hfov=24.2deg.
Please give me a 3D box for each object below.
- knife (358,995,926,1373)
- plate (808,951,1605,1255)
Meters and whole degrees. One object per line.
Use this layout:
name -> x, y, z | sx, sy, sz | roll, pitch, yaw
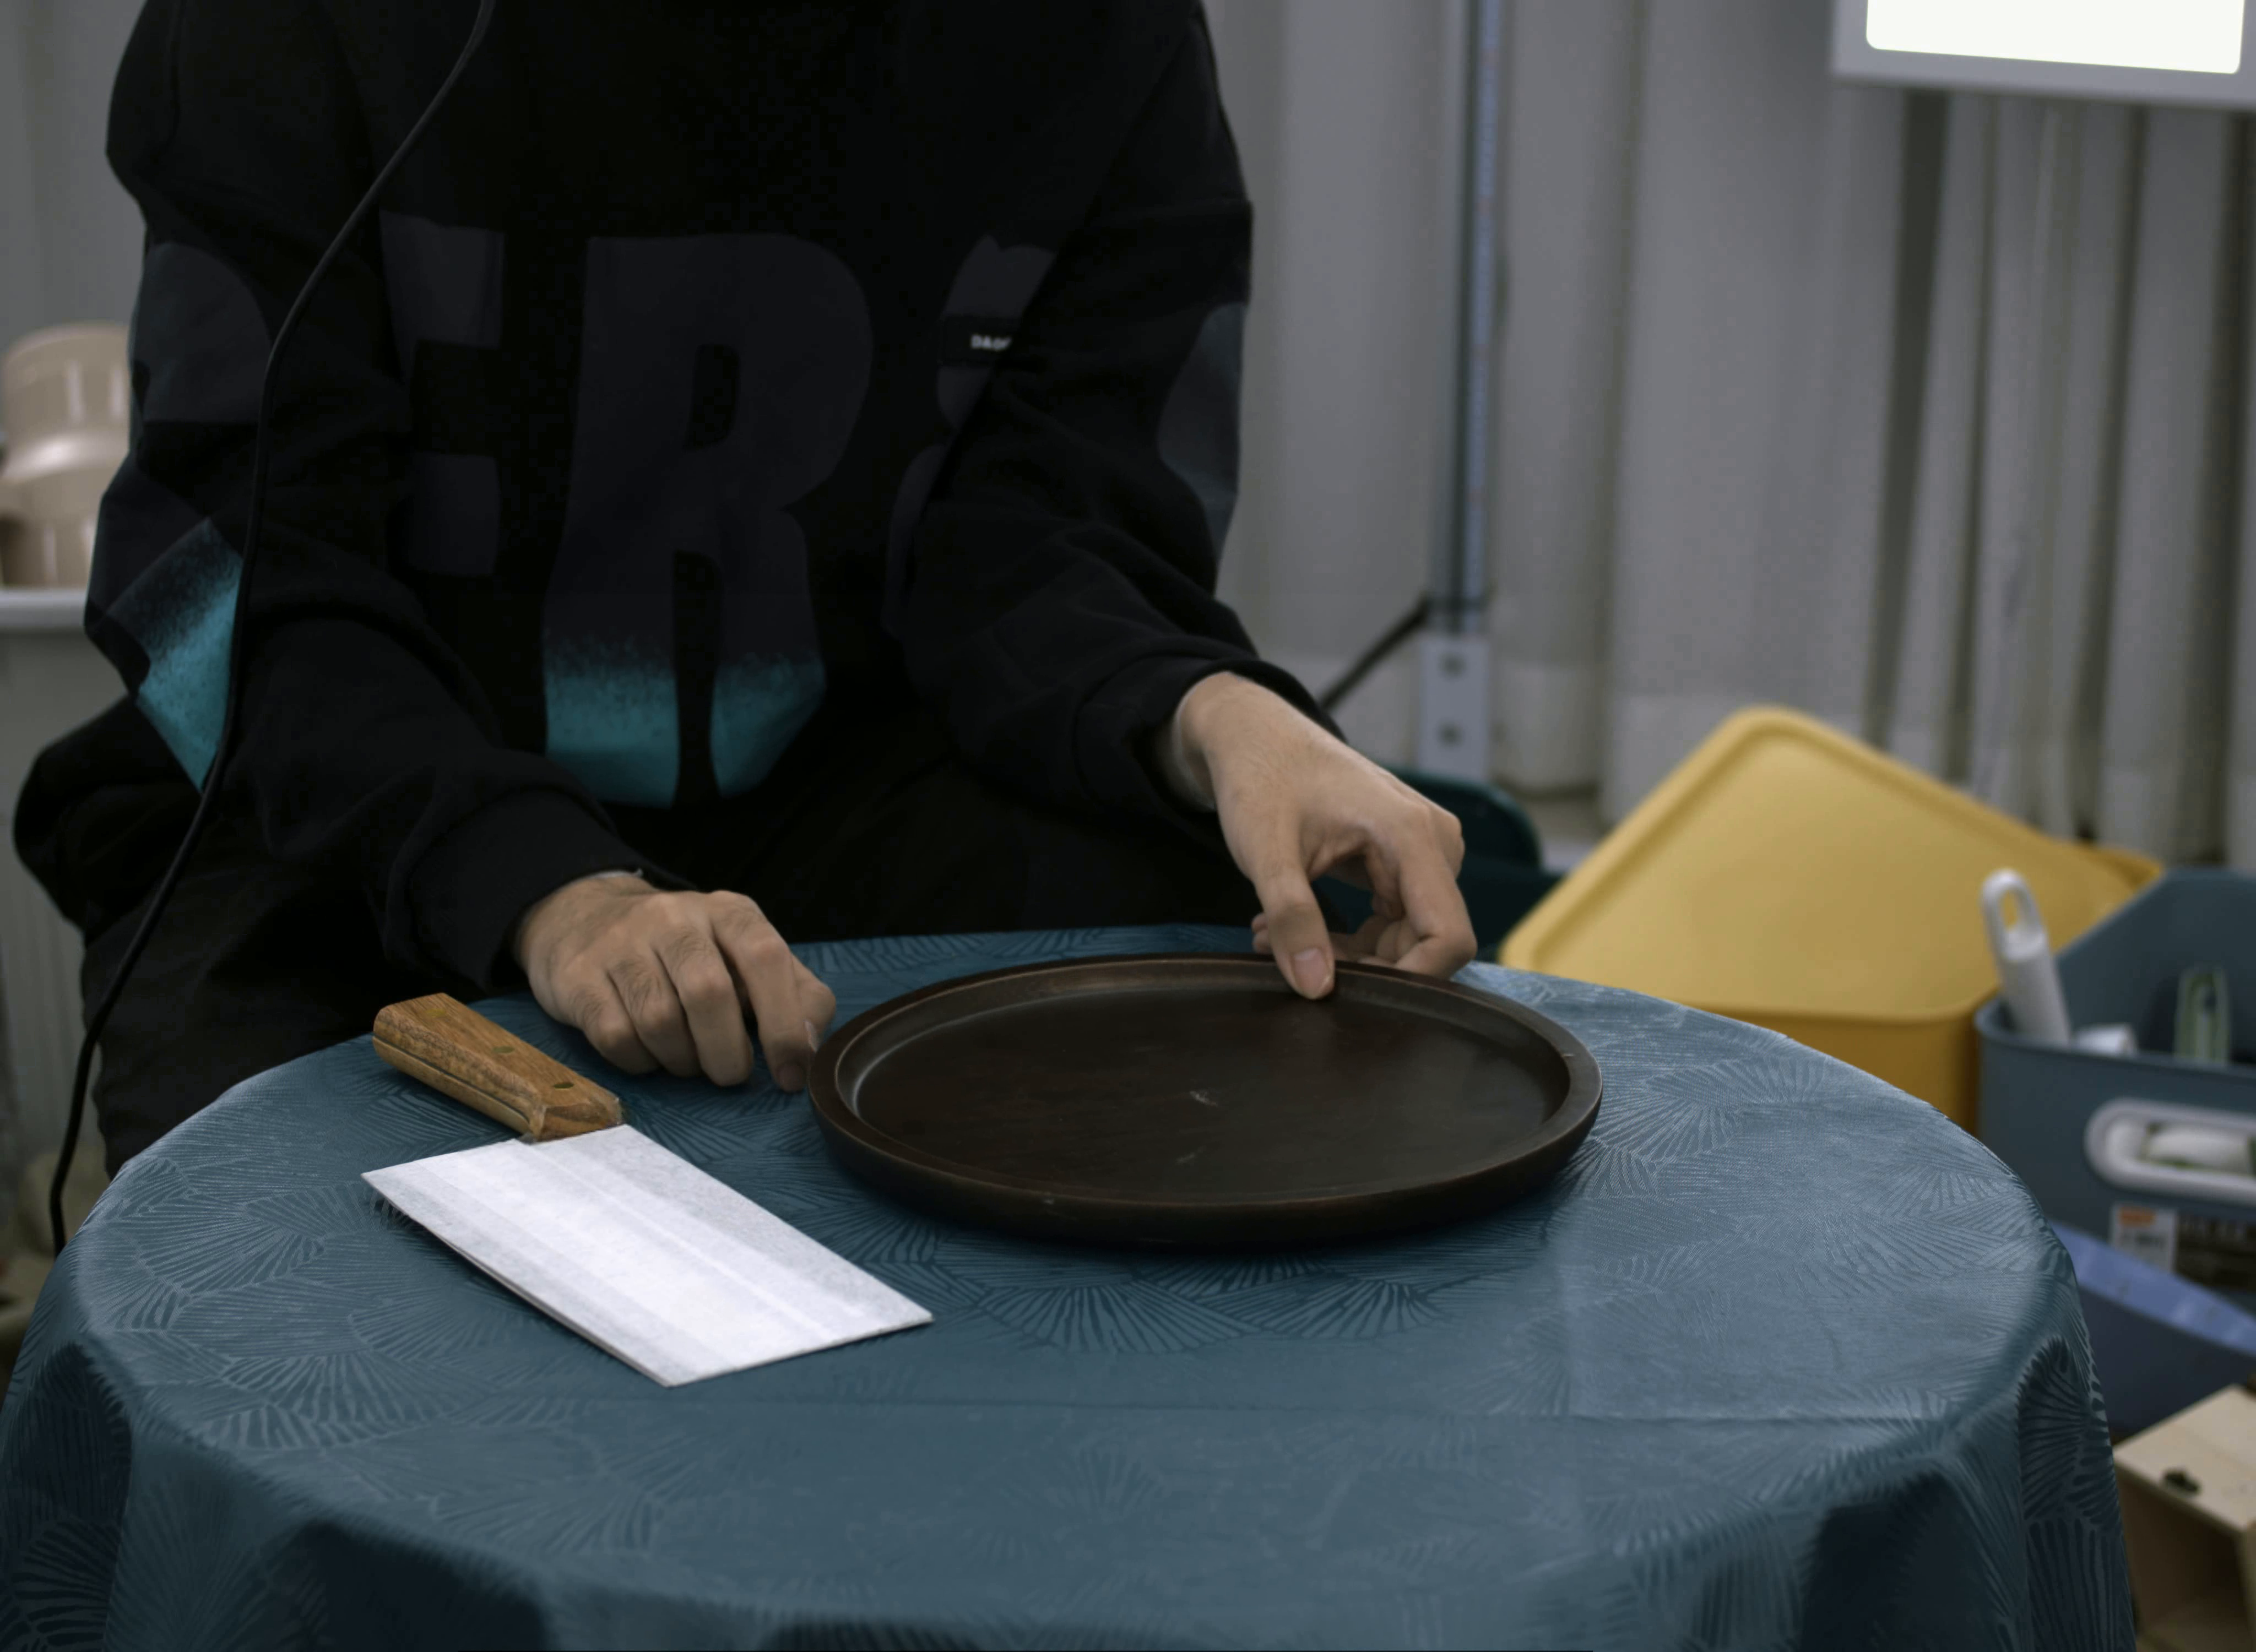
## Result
knife -> -0.176, 0.109, 1.603 | 0.093, 0.021, 0.301 | -12, 22, -33
plate -> 0.025, 0.085, 1.672 | 0.254, 0.029, 0.253 | 2, 15, 0
